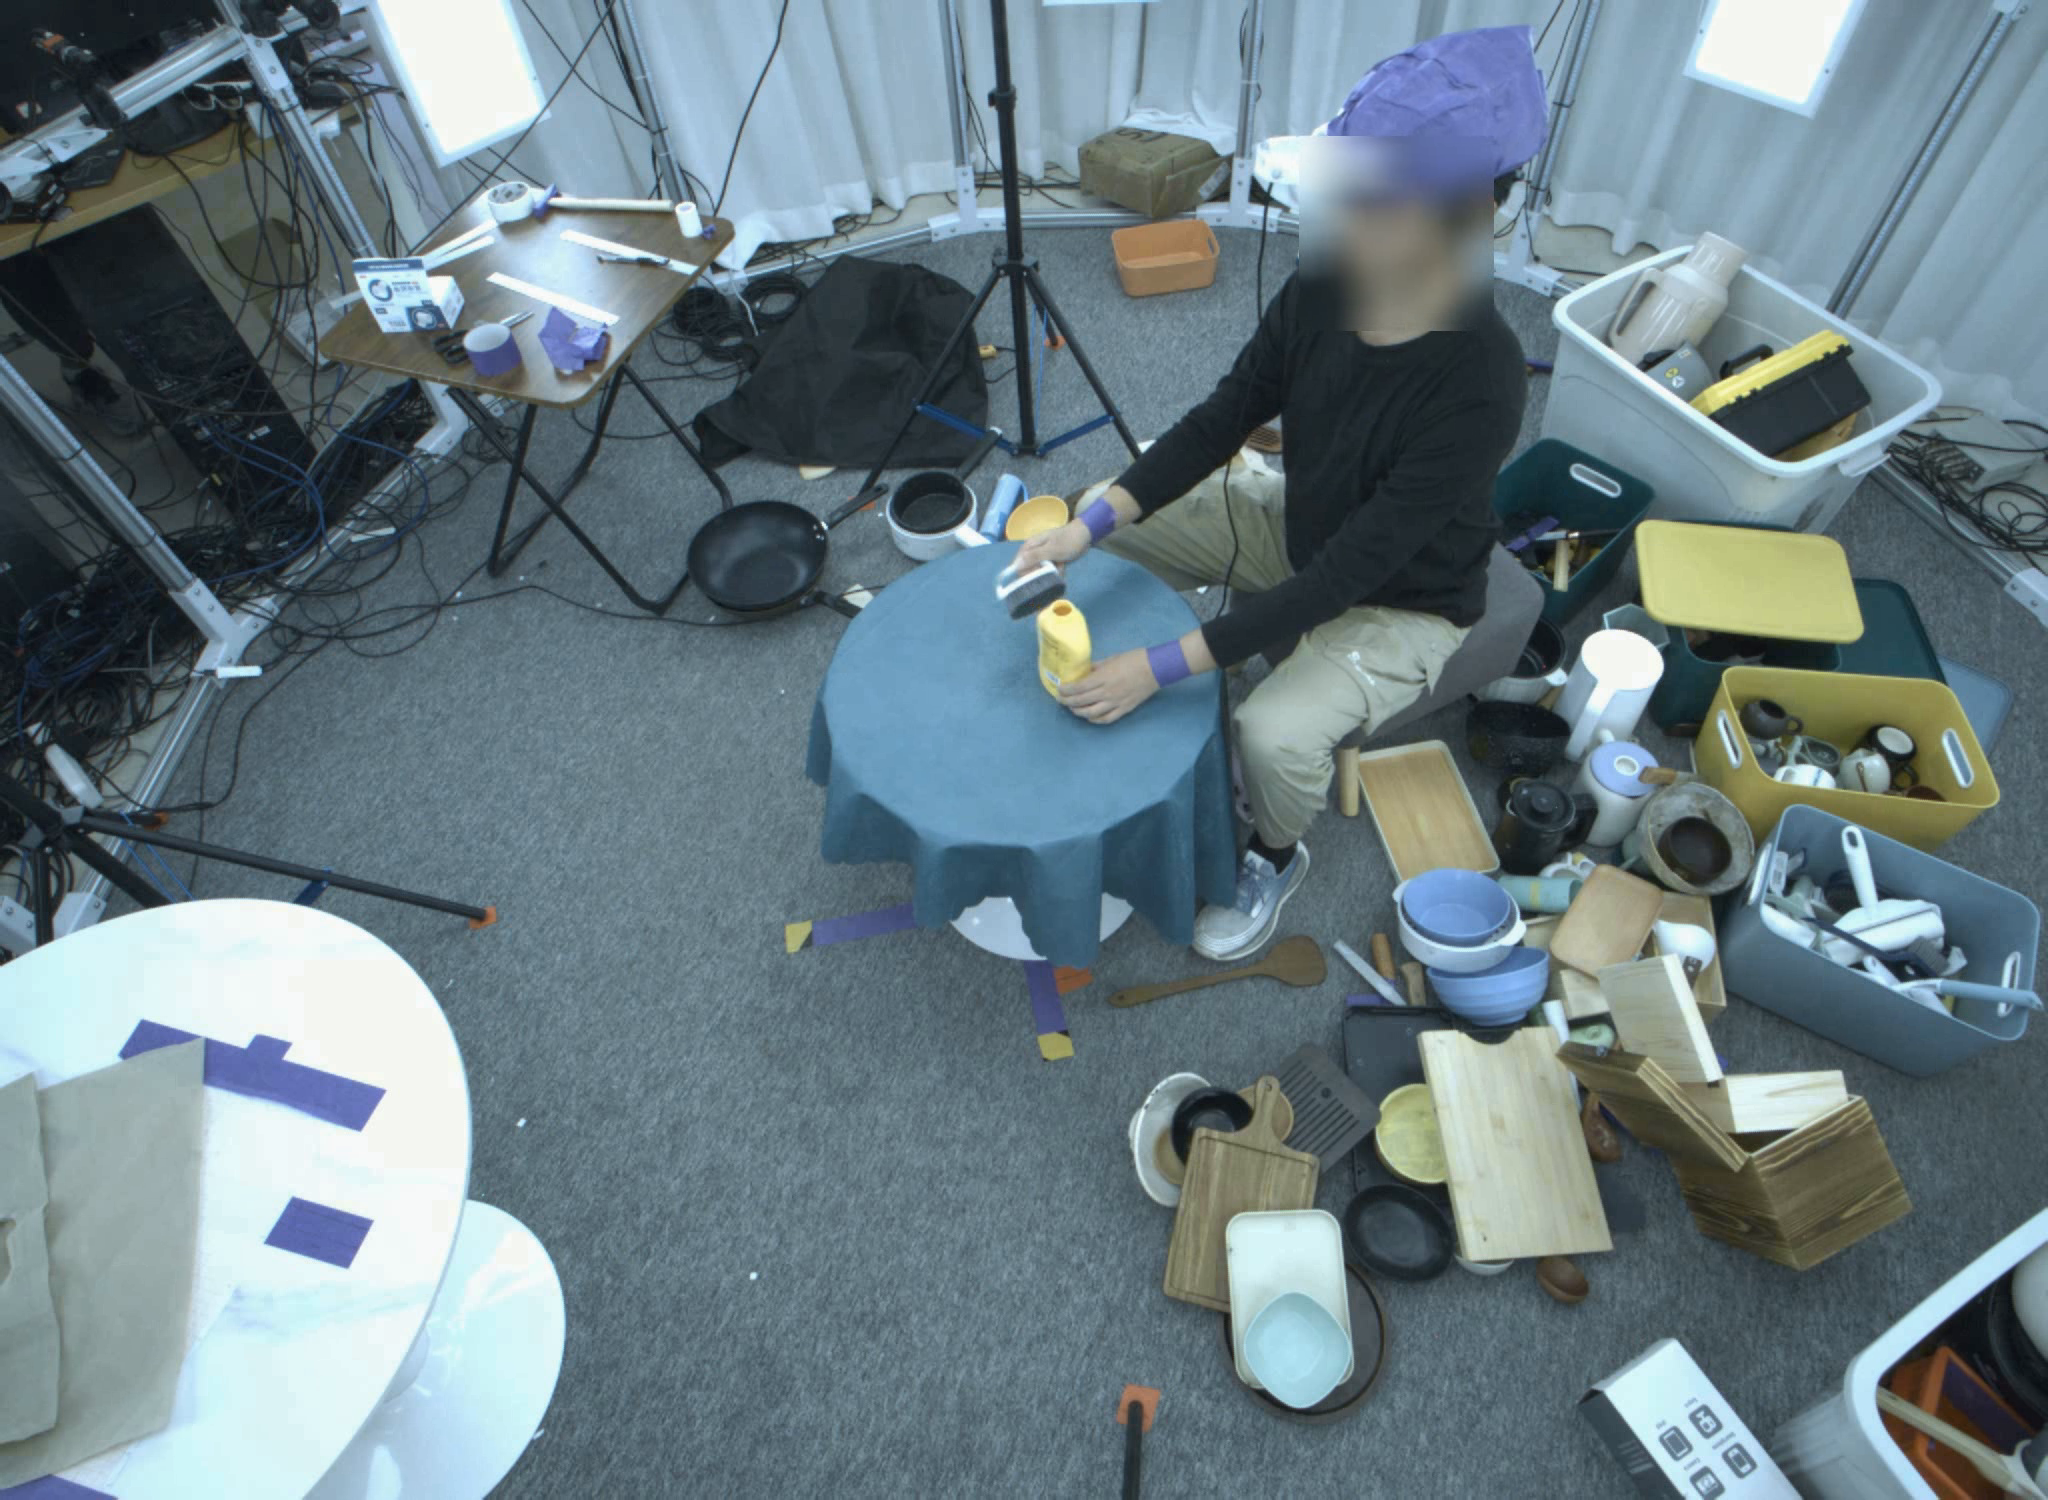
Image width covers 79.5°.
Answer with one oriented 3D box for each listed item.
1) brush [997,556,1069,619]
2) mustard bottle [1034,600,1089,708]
[{"bbox_3d":[0.006,-0.249,1.817,0.099,0.050,0.071,-31,72,-9],"label":"brush"},{"bbox_3d":[0.054,-0.147,1.789,0.060,0.174,0.096,-37,59,-25],"label":"mustard bottle"}]
